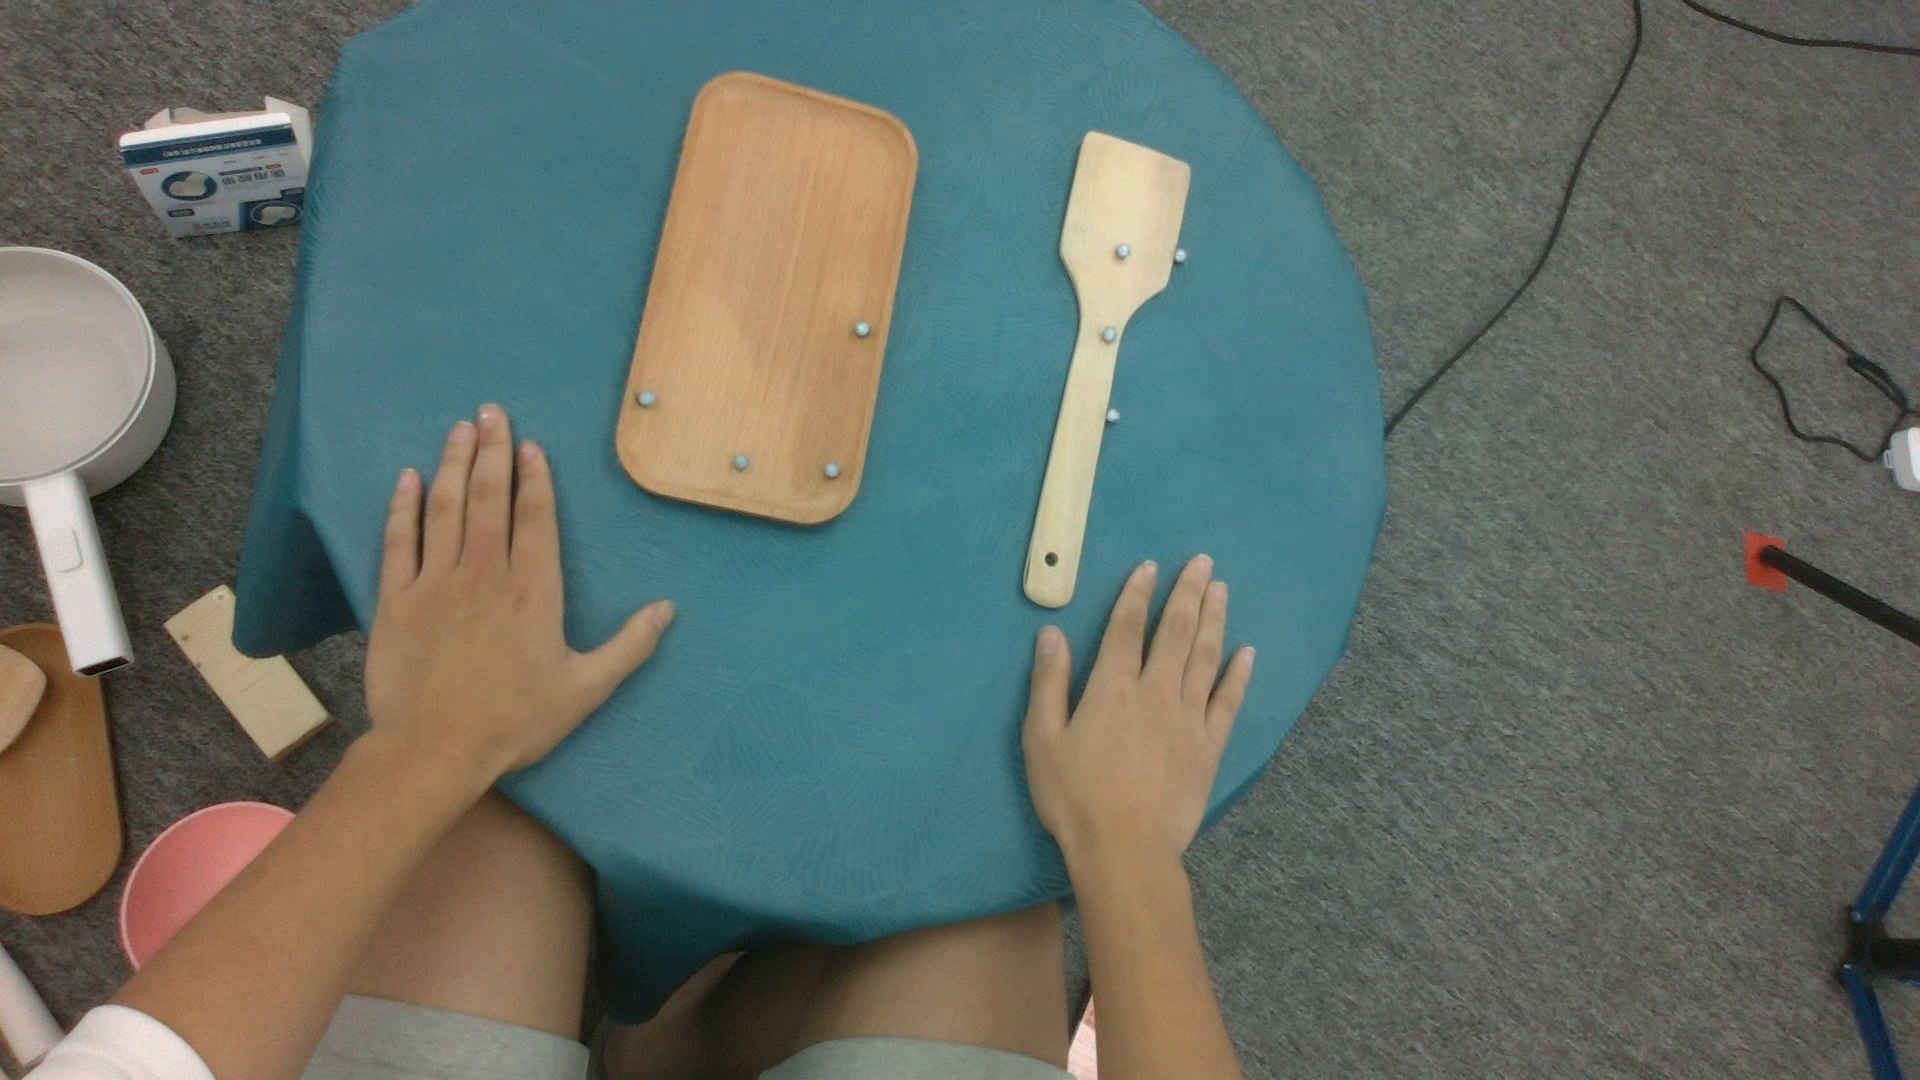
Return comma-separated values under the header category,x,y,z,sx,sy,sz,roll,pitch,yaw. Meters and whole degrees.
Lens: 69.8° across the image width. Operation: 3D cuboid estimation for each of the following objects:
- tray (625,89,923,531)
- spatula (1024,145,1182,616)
category,x,y,z,sx,sy,sz,roll,pitch,yaw
tray,-0.099,-0.130,0.761,0.130,0.023,0.251,13,71,-12
spatula,0.076,-0.095,0.796,0.072,0.010,0.294,15,71,-10
